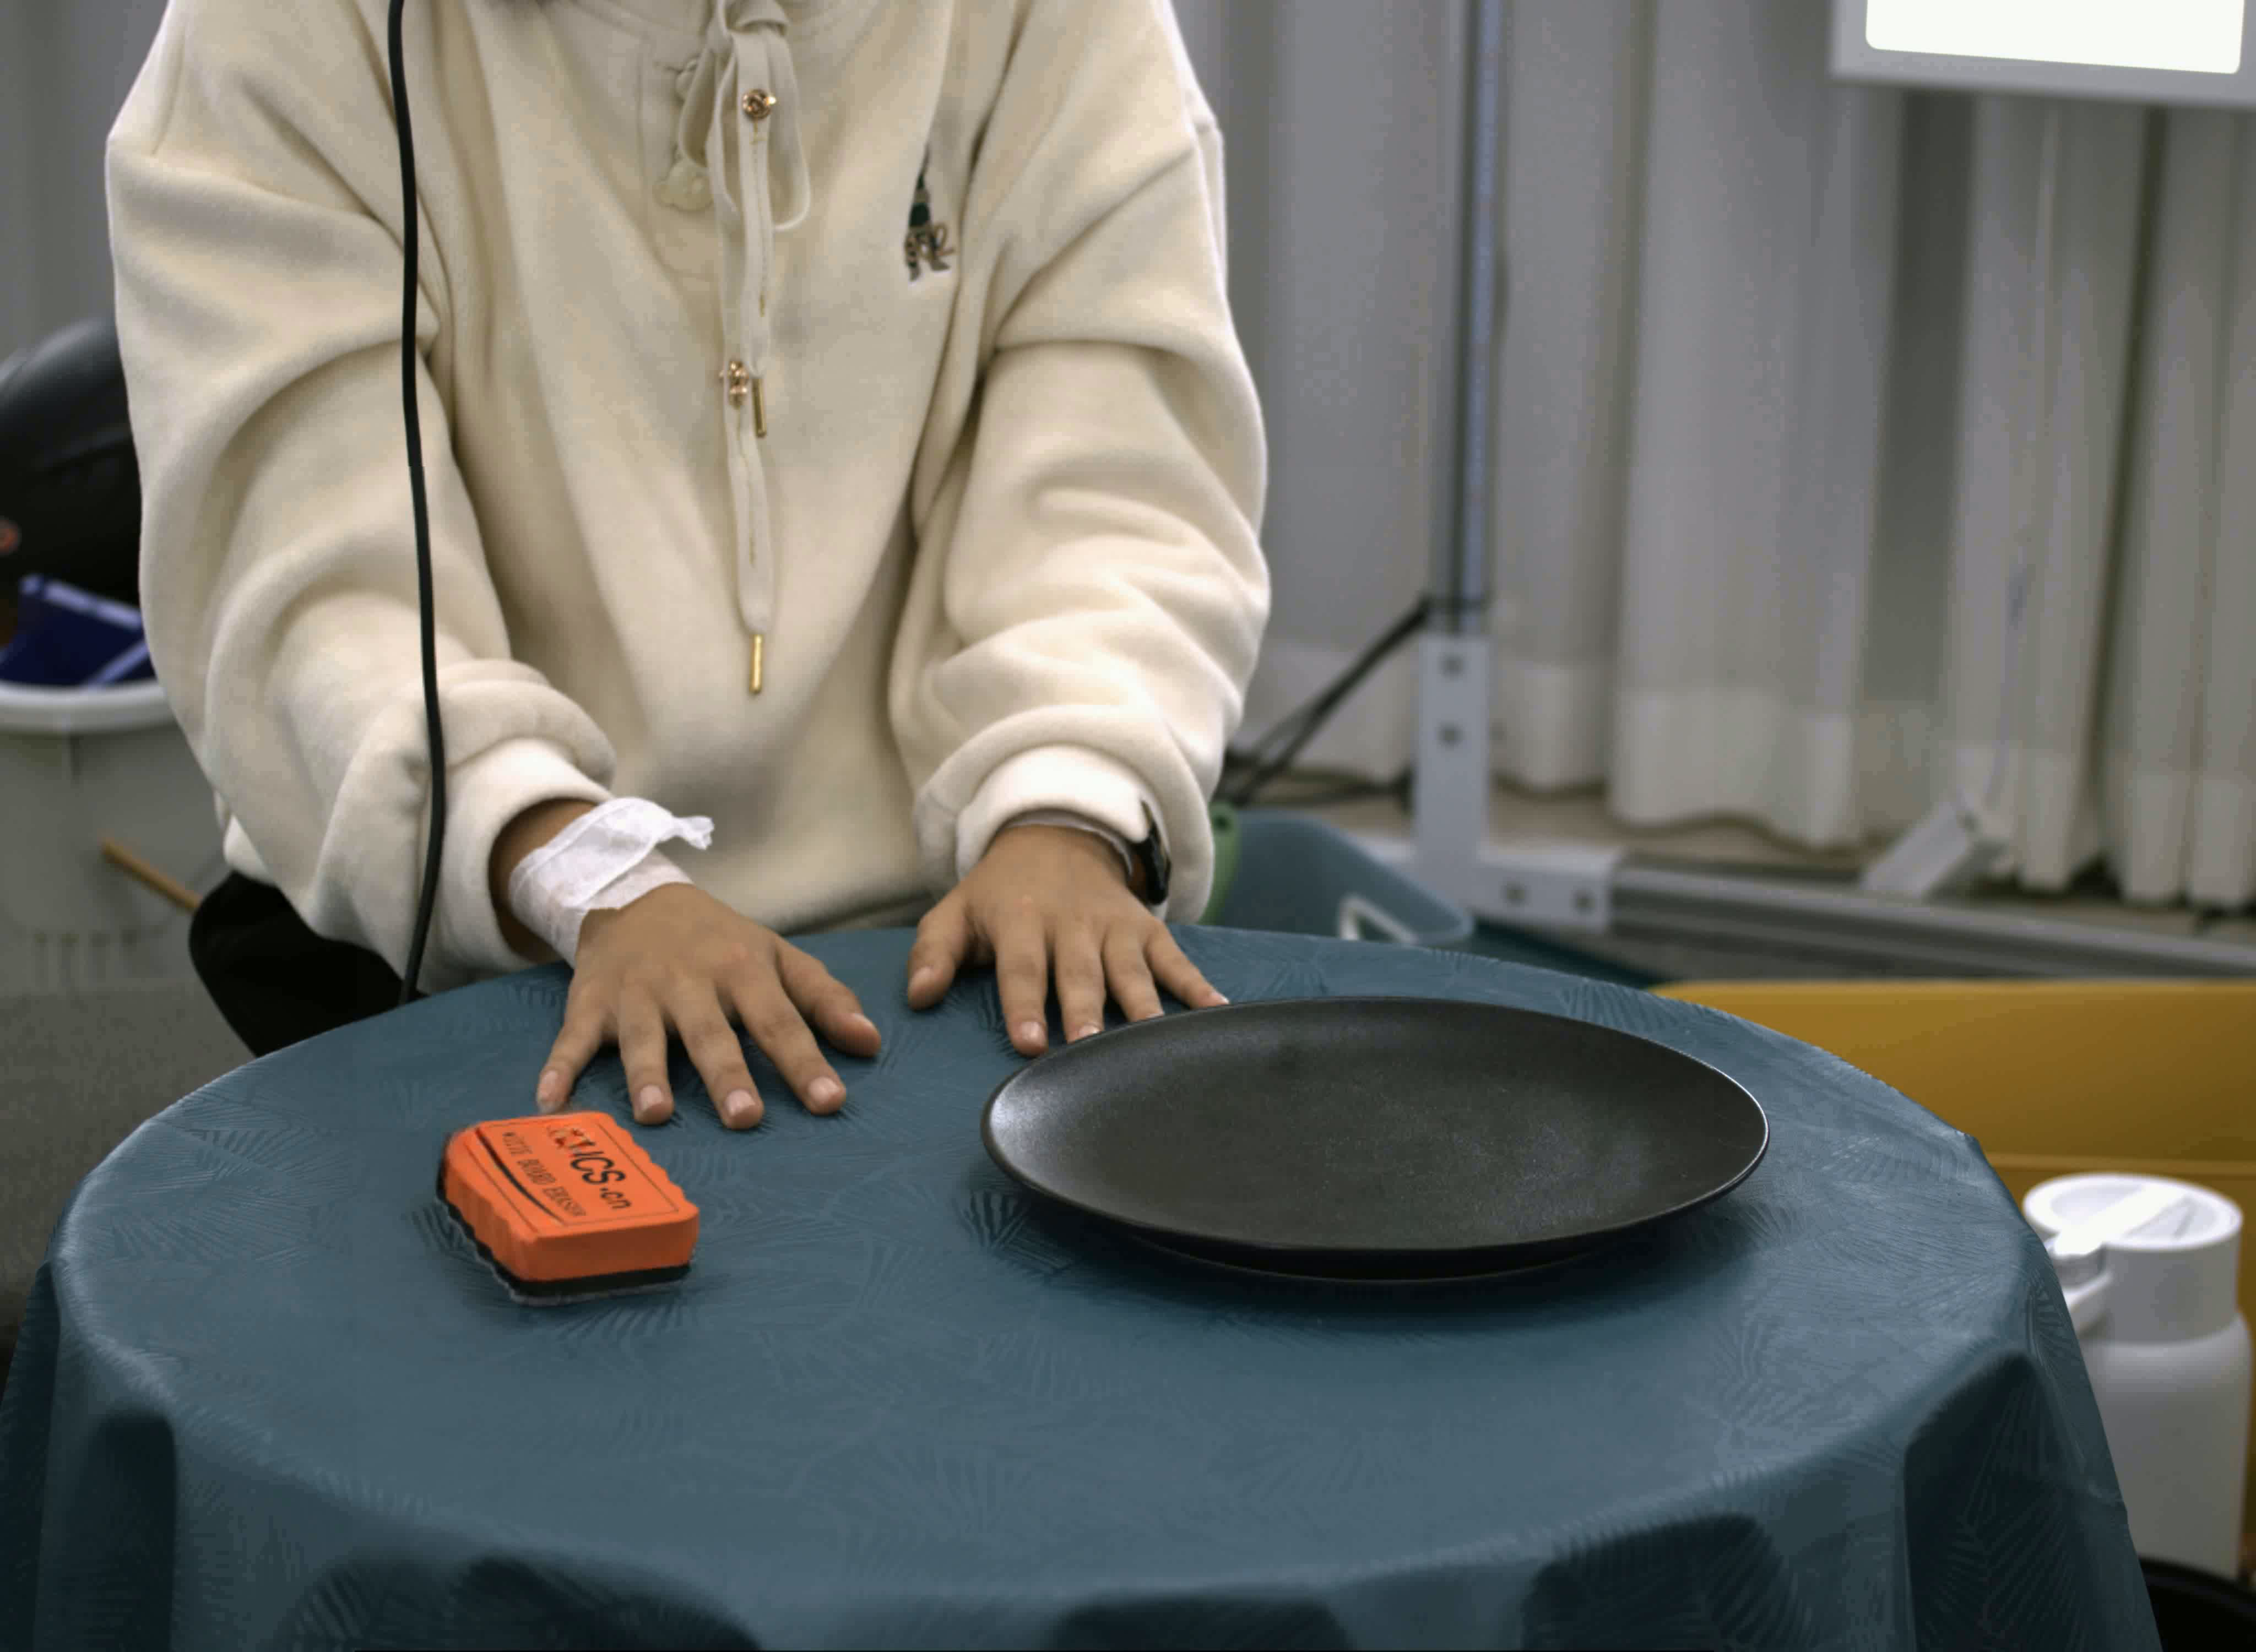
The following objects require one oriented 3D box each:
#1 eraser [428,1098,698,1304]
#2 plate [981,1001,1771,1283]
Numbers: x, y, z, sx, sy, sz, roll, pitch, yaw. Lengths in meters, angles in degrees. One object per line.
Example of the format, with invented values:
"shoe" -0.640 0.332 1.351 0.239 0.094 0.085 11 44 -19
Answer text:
"eraser" -0.169 0.110 1.568 0.059 0.023 0.107 -7 19 -21
"plate" 0.076 0.099 1.627 0.243 0.023 0.243 0 15 0
